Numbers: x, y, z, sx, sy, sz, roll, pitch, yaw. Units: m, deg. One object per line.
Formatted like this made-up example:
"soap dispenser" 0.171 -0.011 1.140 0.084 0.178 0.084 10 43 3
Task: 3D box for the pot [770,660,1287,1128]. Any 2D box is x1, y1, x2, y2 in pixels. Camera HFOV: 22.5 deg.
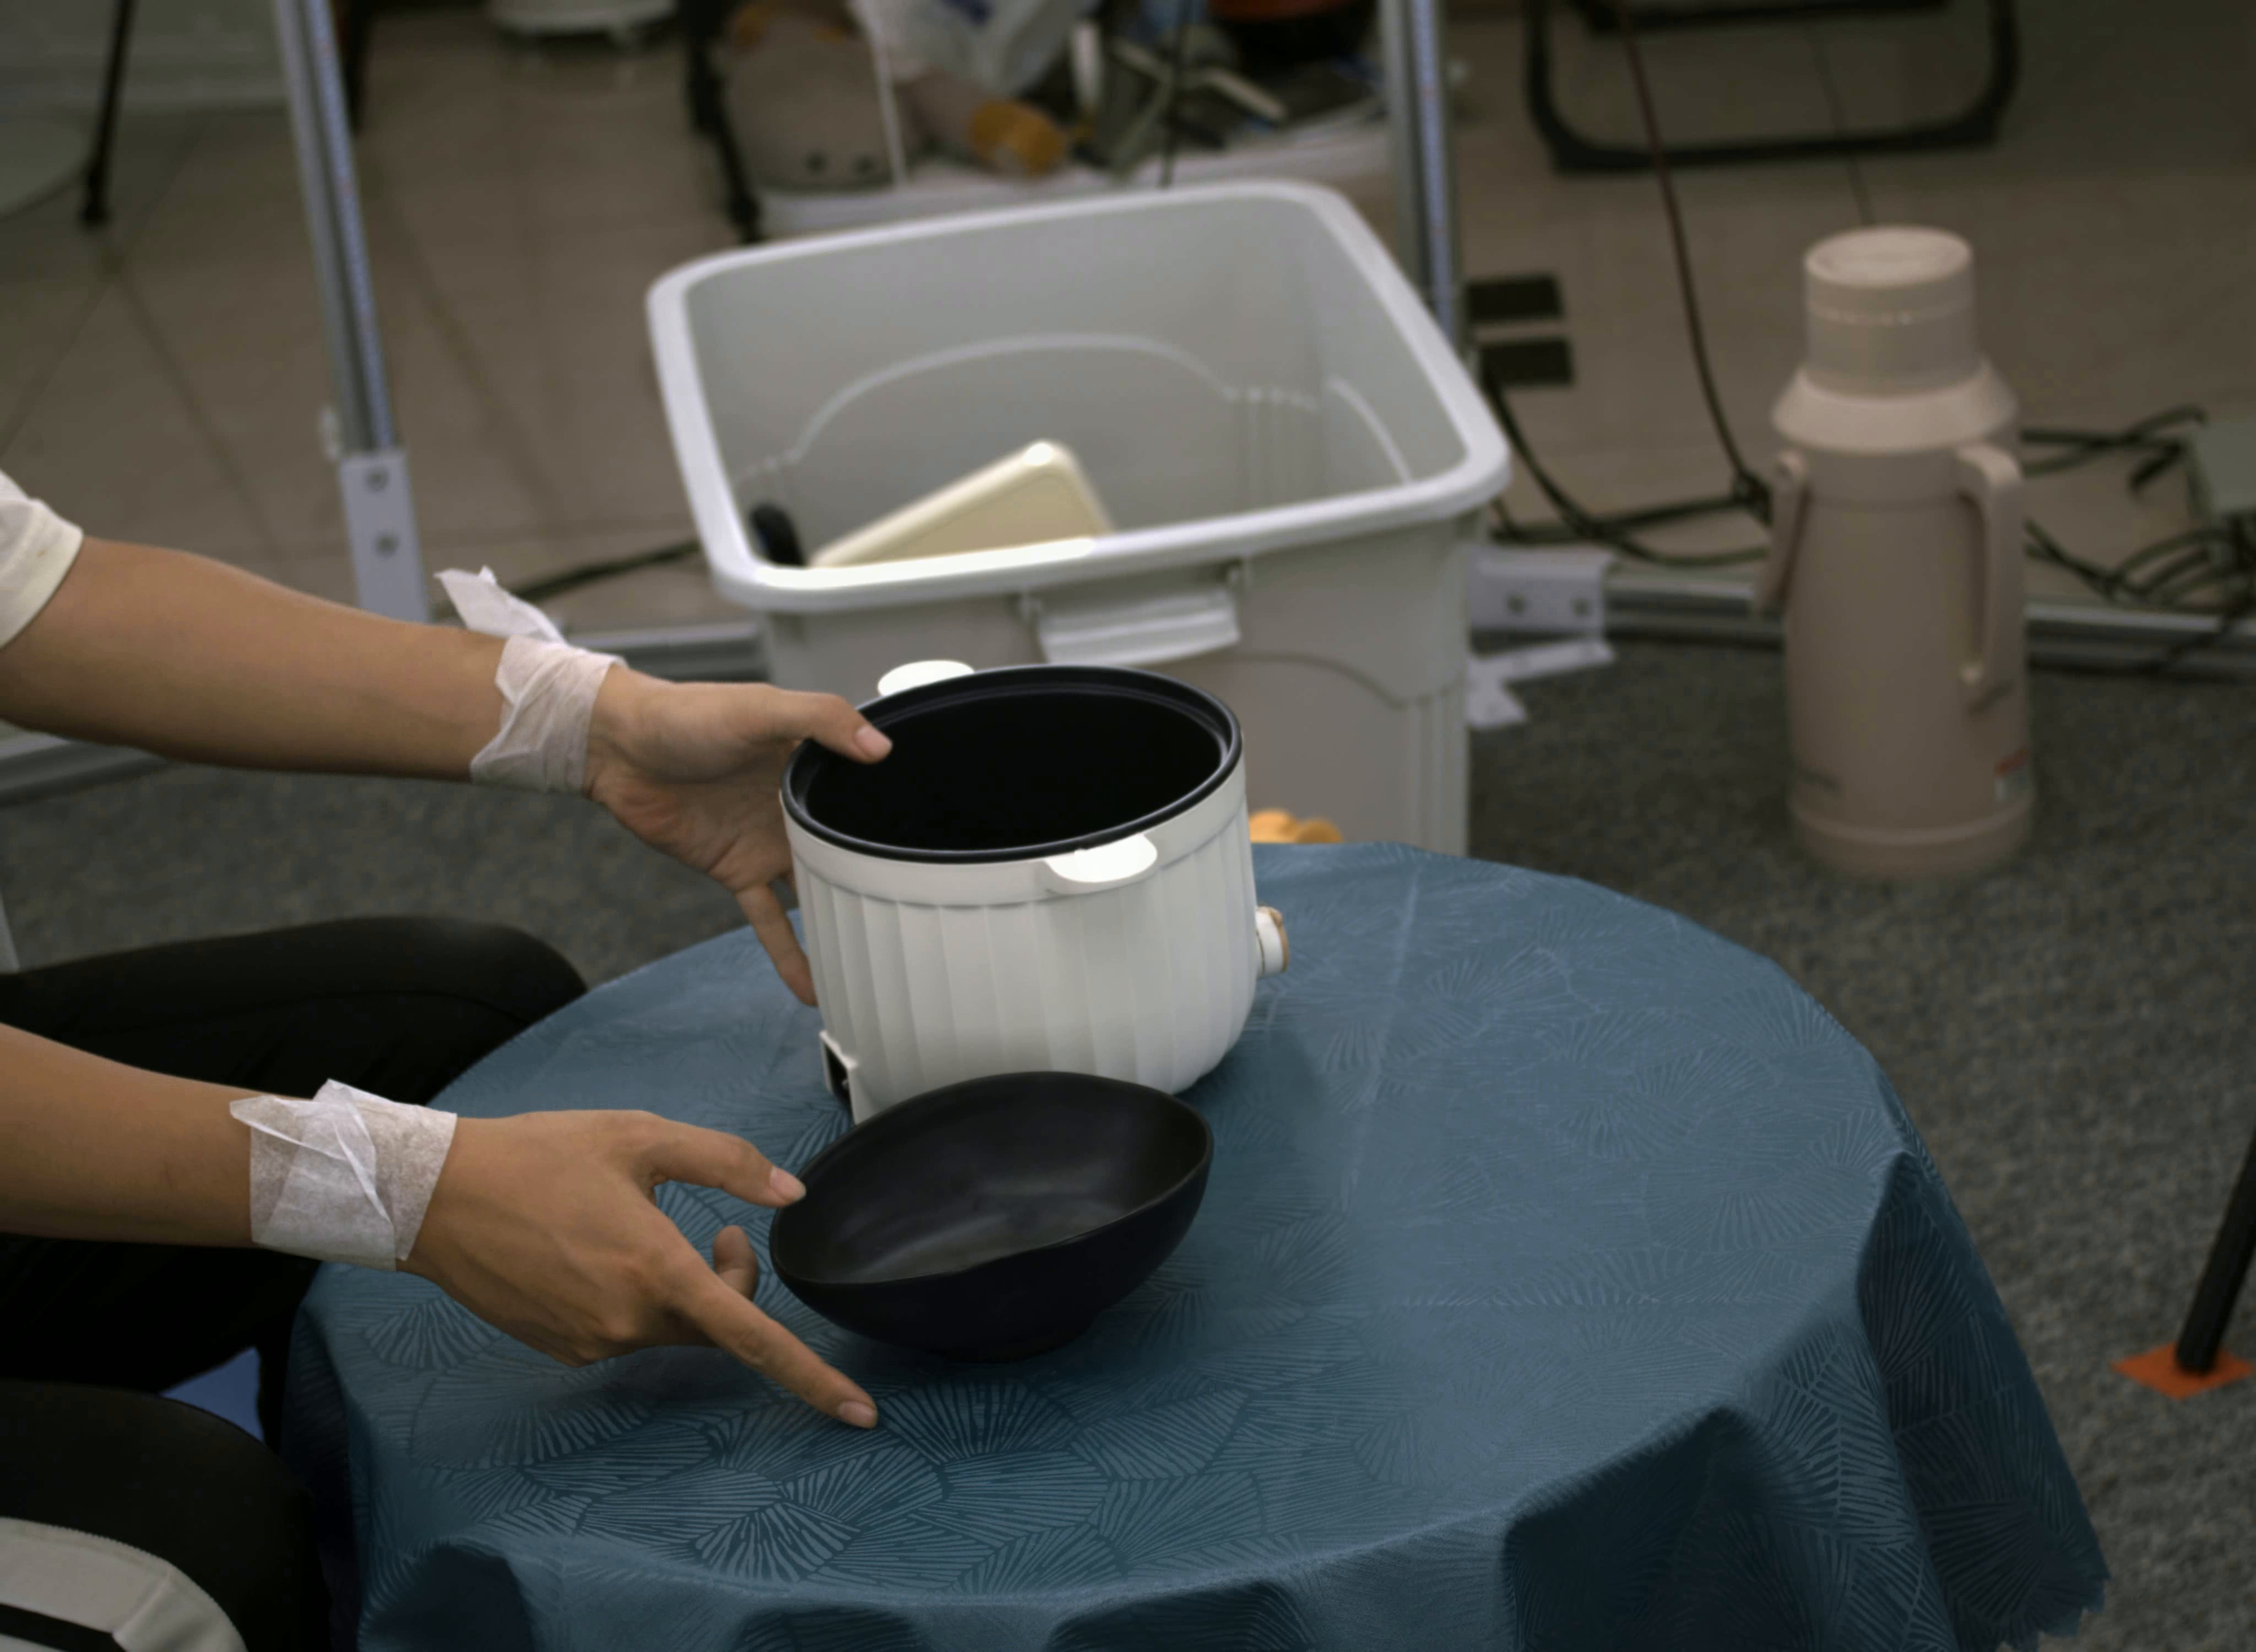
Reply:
"pot" -0.035 0.030 2.226 0.190 0.145 0.237 -18 28 -16

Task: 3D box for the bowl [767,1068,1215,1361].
"bowl" -0.046 0.151 2.060 0.169 0.068 0.136 -19 26 -23
